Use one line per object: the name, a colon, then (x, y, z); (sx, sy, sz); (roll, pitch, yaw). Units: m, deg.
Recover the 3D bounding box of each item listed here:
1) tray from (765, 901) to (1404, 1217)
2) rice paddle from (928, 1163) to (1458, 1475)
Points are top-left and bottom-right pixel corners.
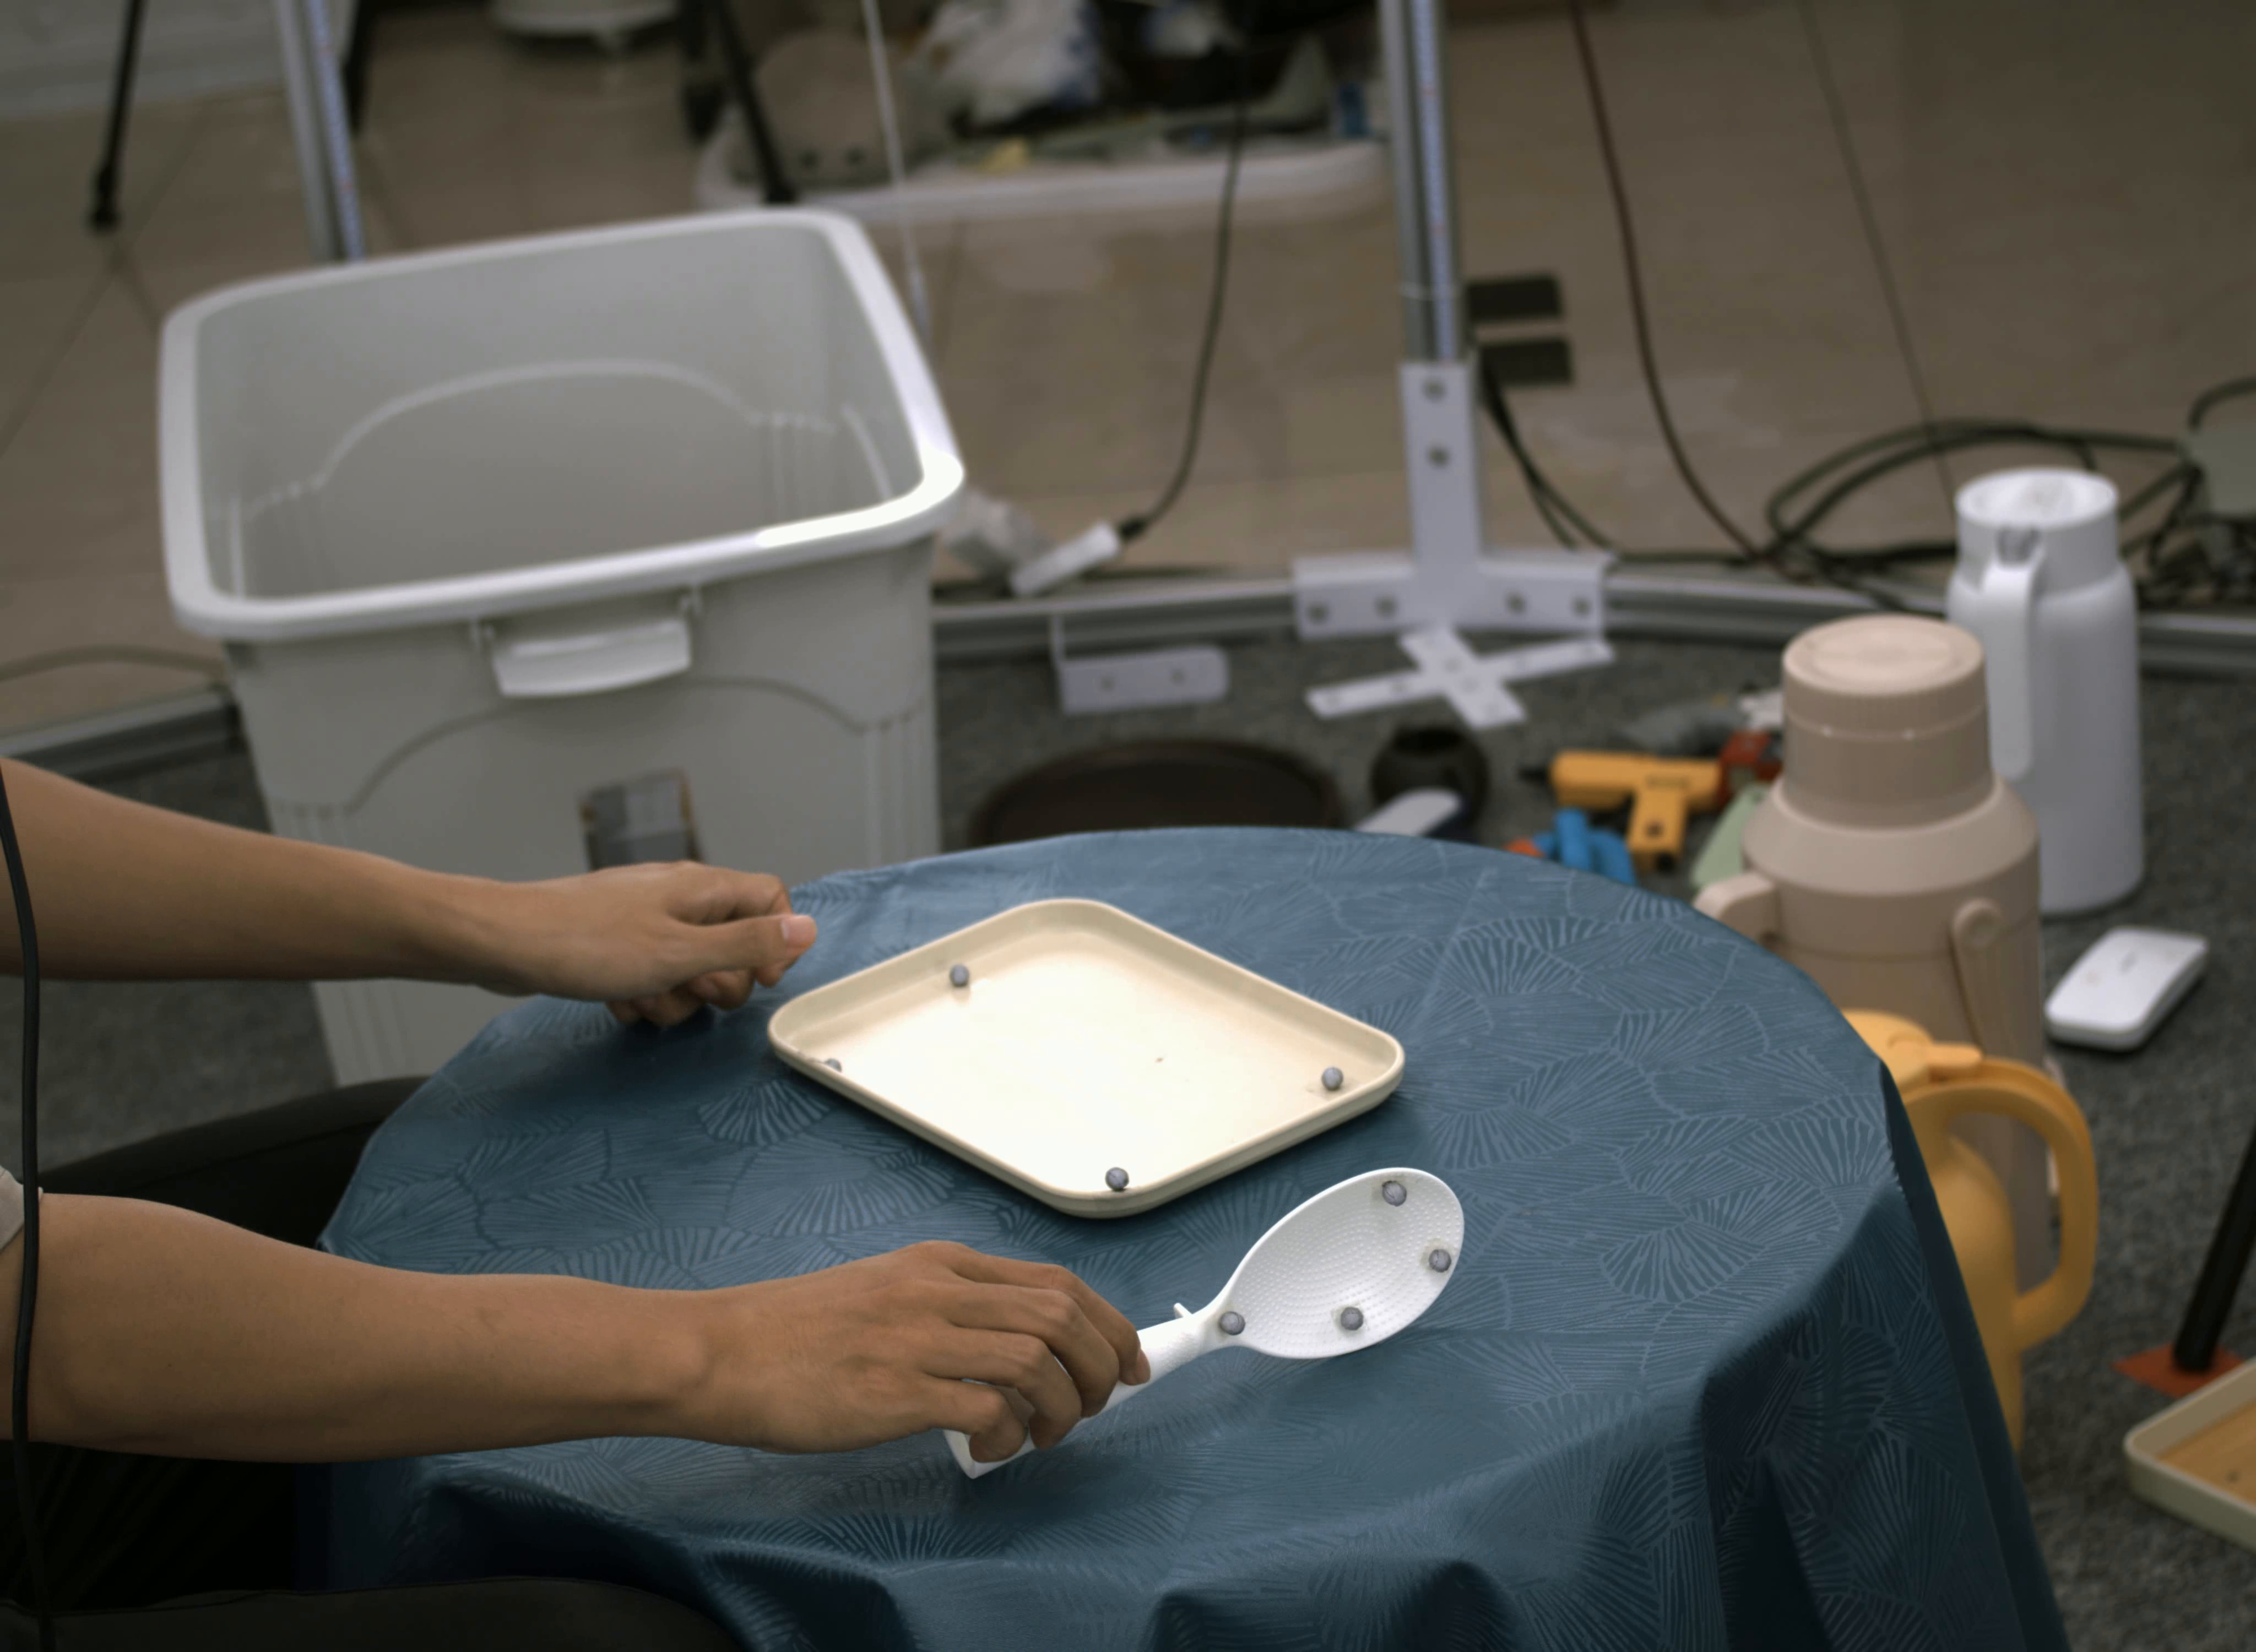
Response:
tray: (-0.019, 0.091, 2.240); (0.170, 0.018, 0.237); (-22, 29, -32)
rice paddle: (0.028, 0.174, 1.995); (0.204, 0.070, 0.029); (-22, 30, -16)
